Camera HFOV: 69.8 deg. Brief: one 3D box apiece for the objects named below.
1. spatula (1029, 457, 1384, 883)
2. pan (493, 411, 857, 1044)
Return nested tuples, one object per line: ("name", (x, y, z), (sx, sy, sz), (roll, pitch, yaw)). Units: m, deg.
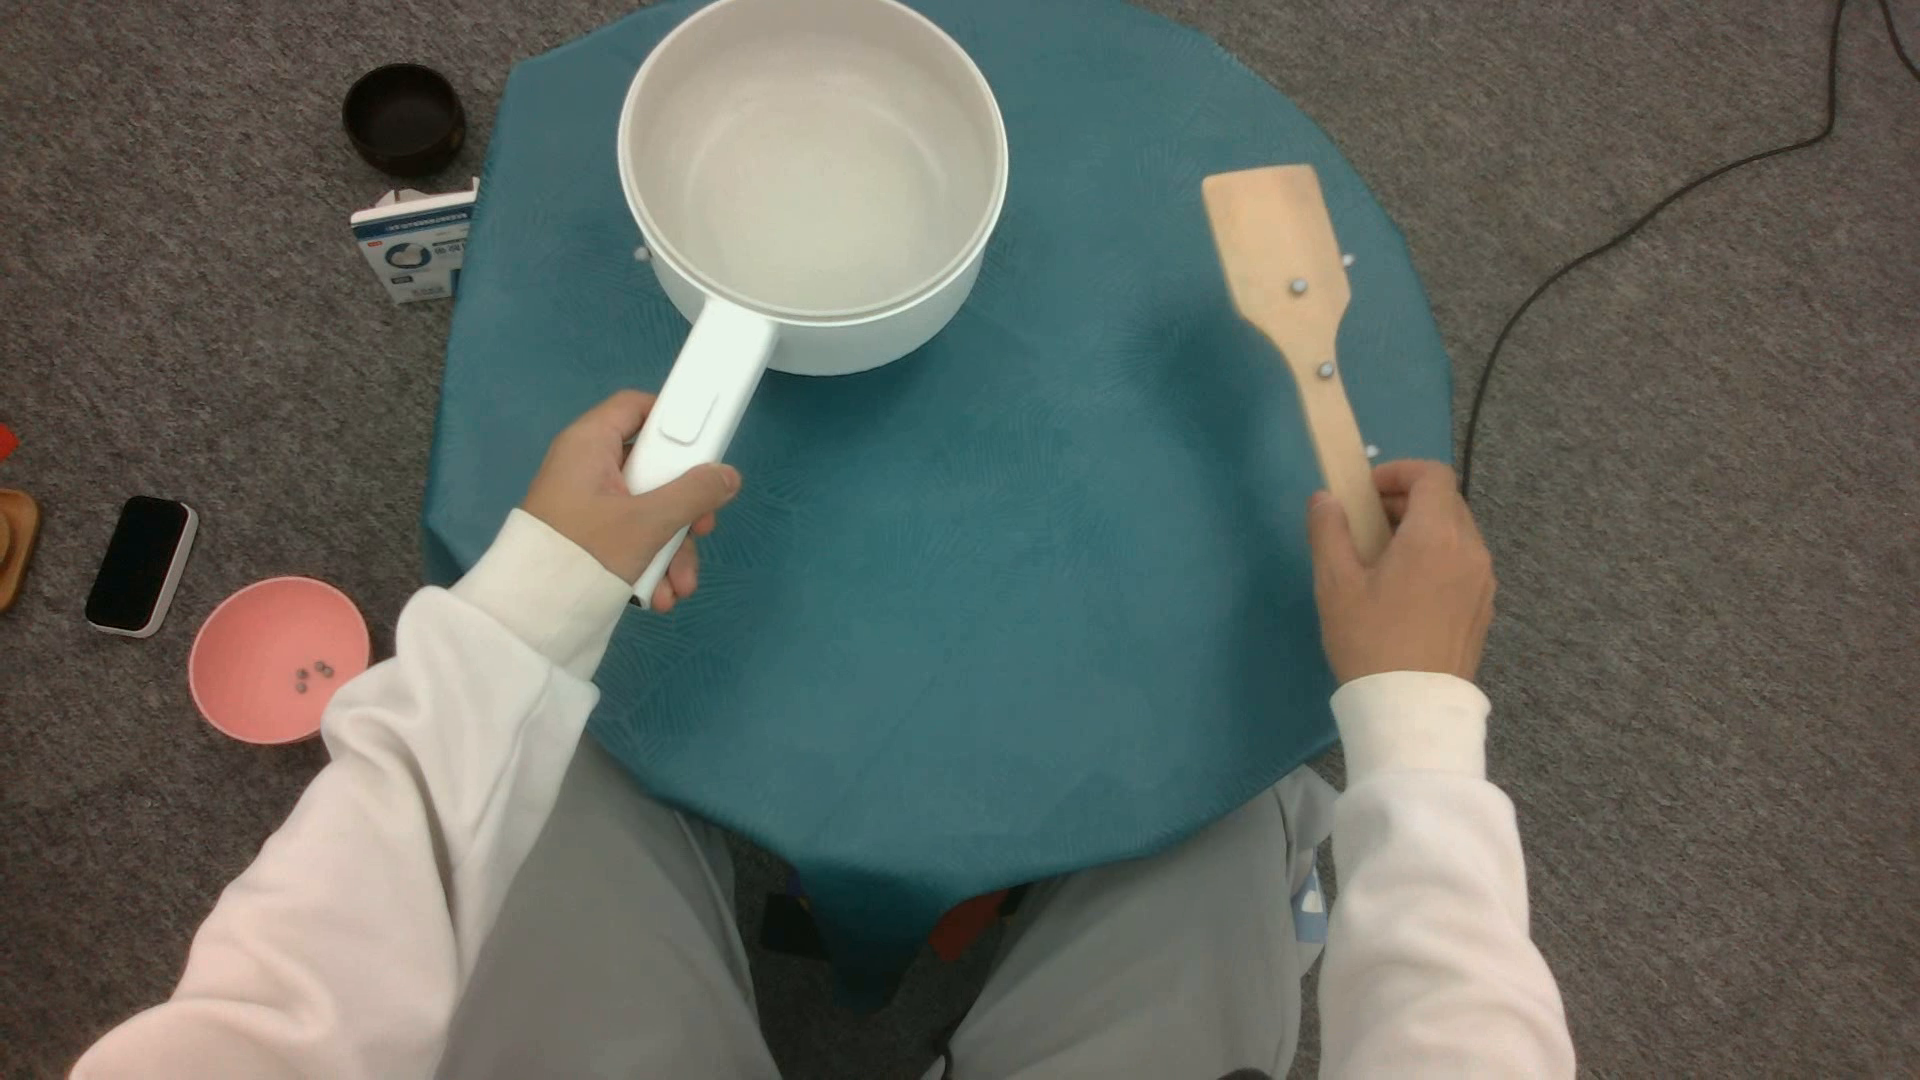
("spatula", (0.142, 0.067, 0.782), (0.072, 0.010, 0.293), (-22, 60, -21))
("pan", (-0.165, 0.098, 0.766), (0.201, 0.101, 0.356), (5, 59, 0))
